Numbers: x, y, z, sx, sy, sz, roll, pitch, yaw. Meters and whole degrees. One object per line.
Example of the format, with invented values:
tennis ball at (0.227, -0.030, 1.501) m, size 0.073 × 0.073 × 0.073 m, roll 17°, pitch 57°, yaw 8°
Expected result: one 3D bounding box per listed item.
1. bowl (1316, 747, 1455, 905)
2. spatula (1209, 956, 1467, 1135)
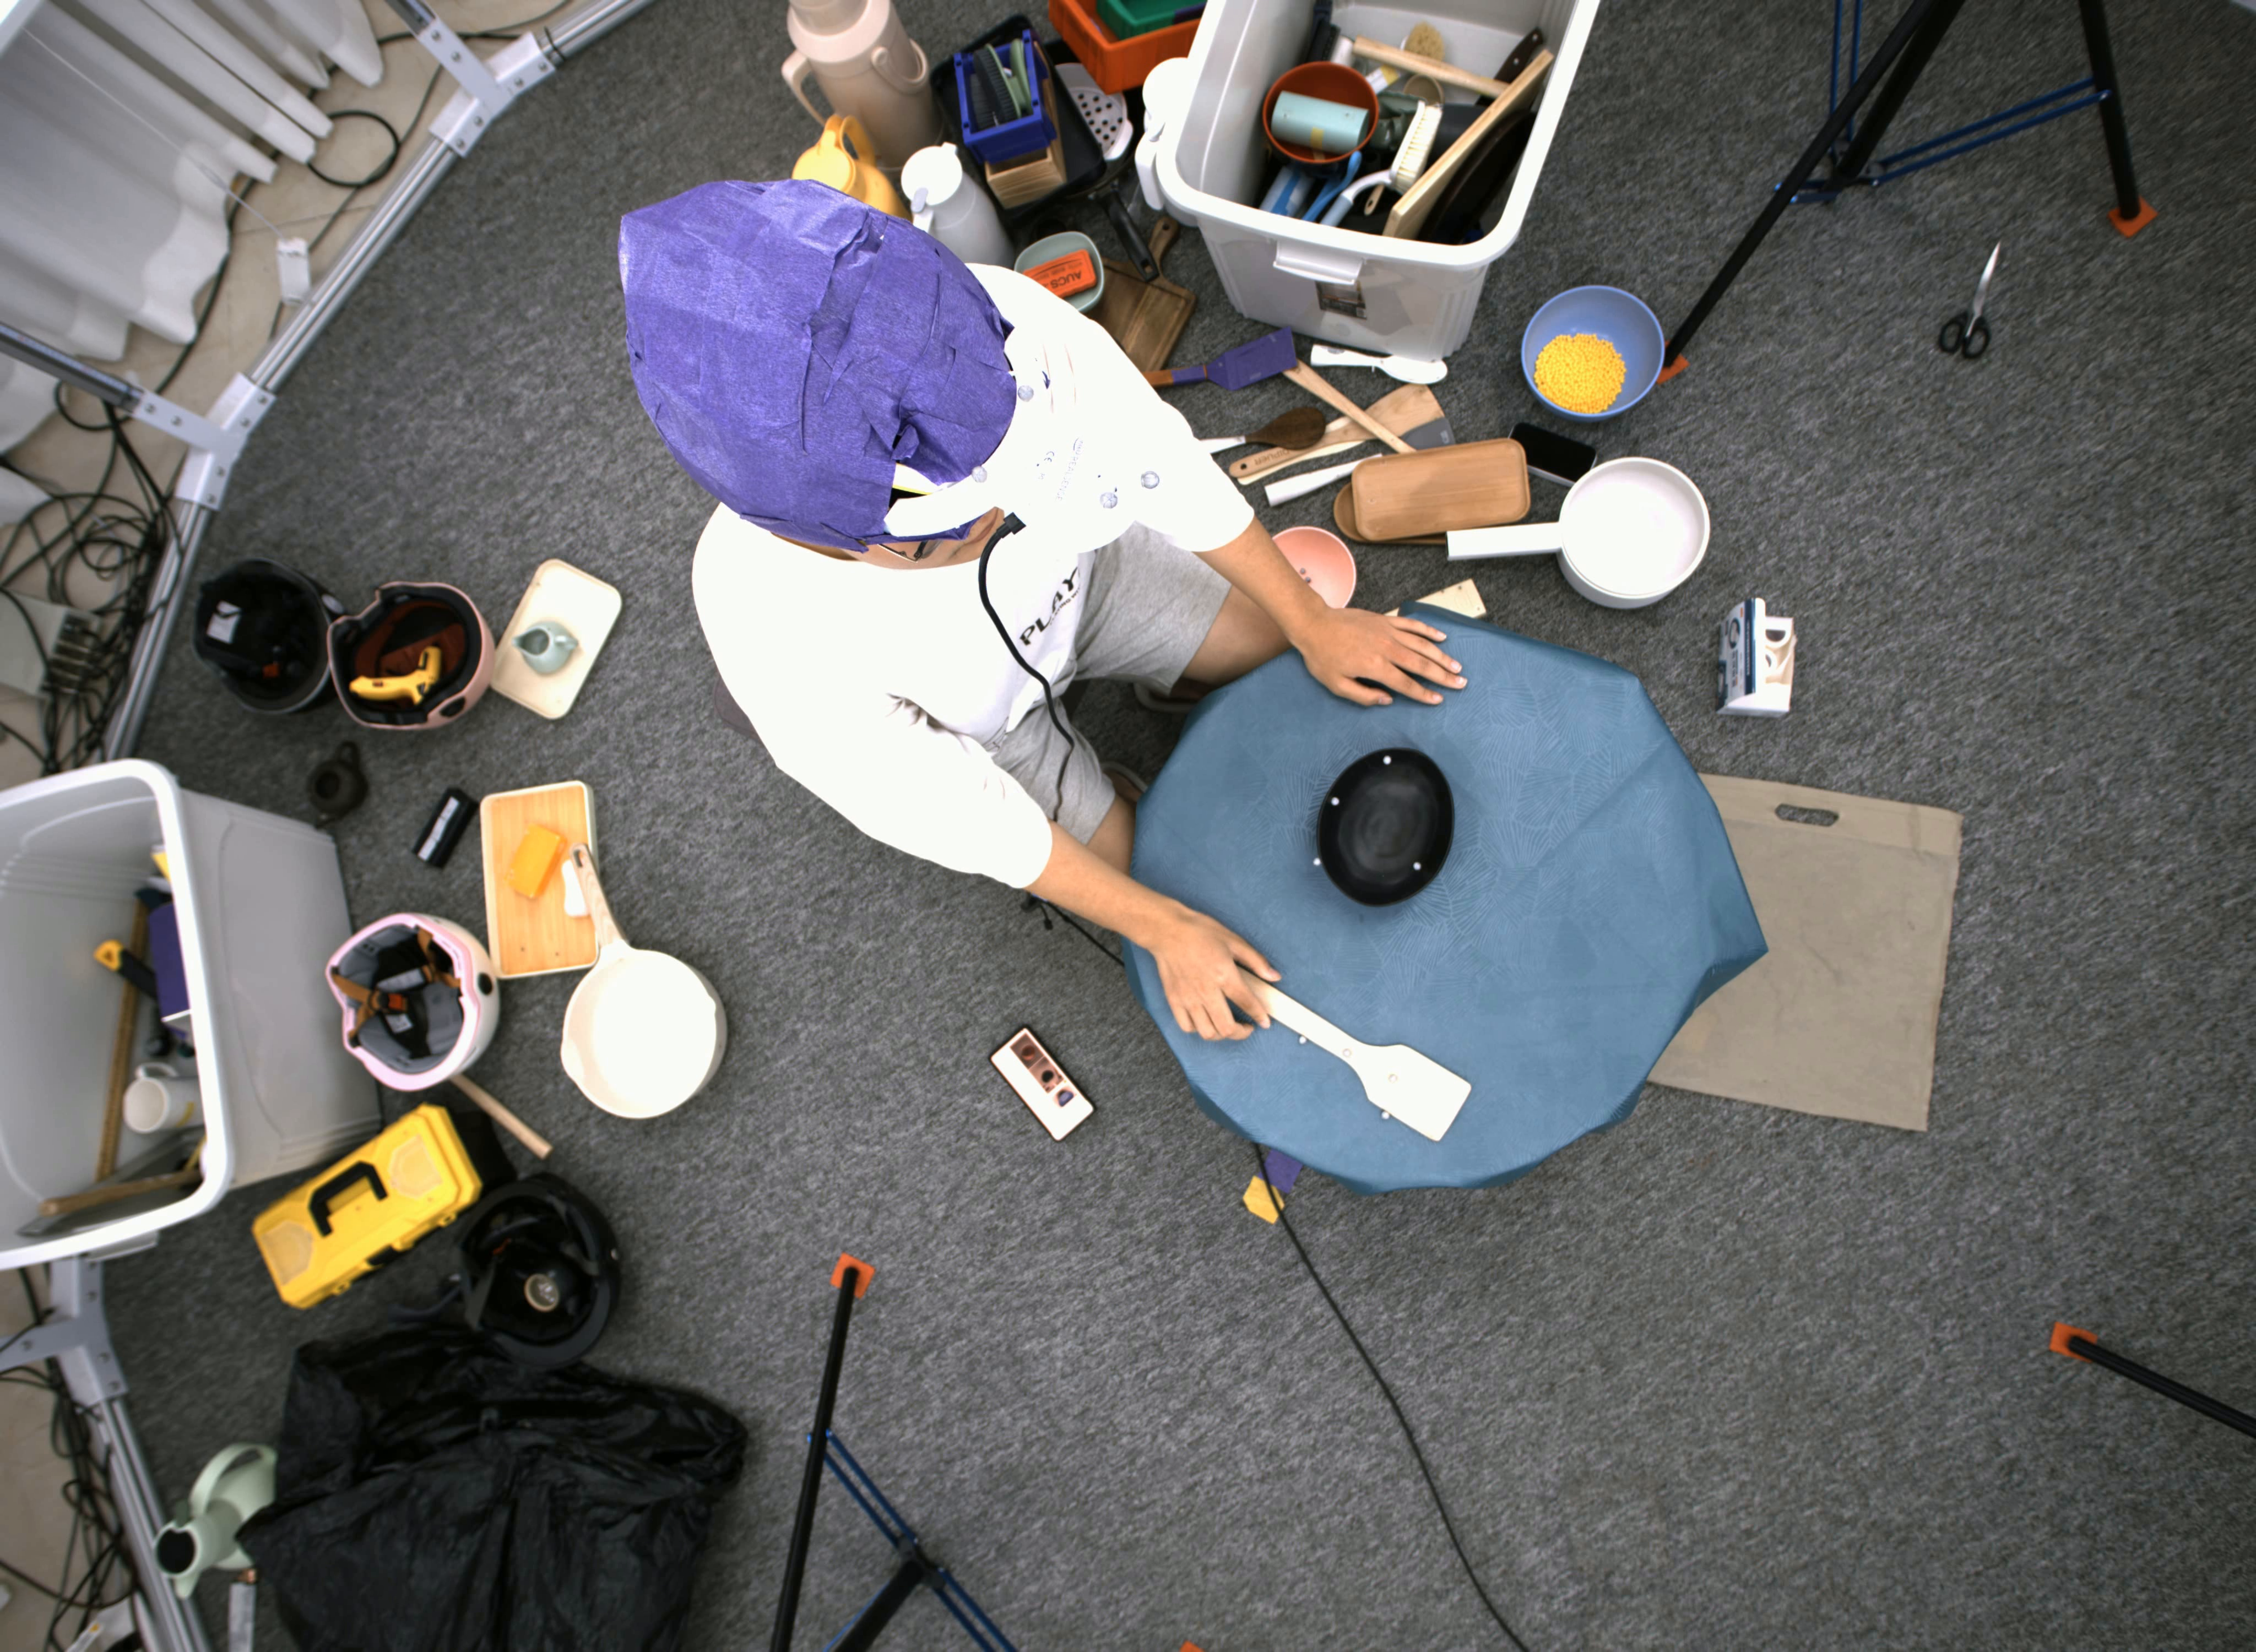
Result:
bowl at (0.268, 0.000, 1.432) m, size 0.137 × 0.067 × 0.170 m, roll 18°, pitch 88°, yaw 12°
spatula at (0.213, 0.220, 1.457) m, size 0.292 × 0.010 × 0.072 m, roll 30°, pitch 94°, yaw 11°
